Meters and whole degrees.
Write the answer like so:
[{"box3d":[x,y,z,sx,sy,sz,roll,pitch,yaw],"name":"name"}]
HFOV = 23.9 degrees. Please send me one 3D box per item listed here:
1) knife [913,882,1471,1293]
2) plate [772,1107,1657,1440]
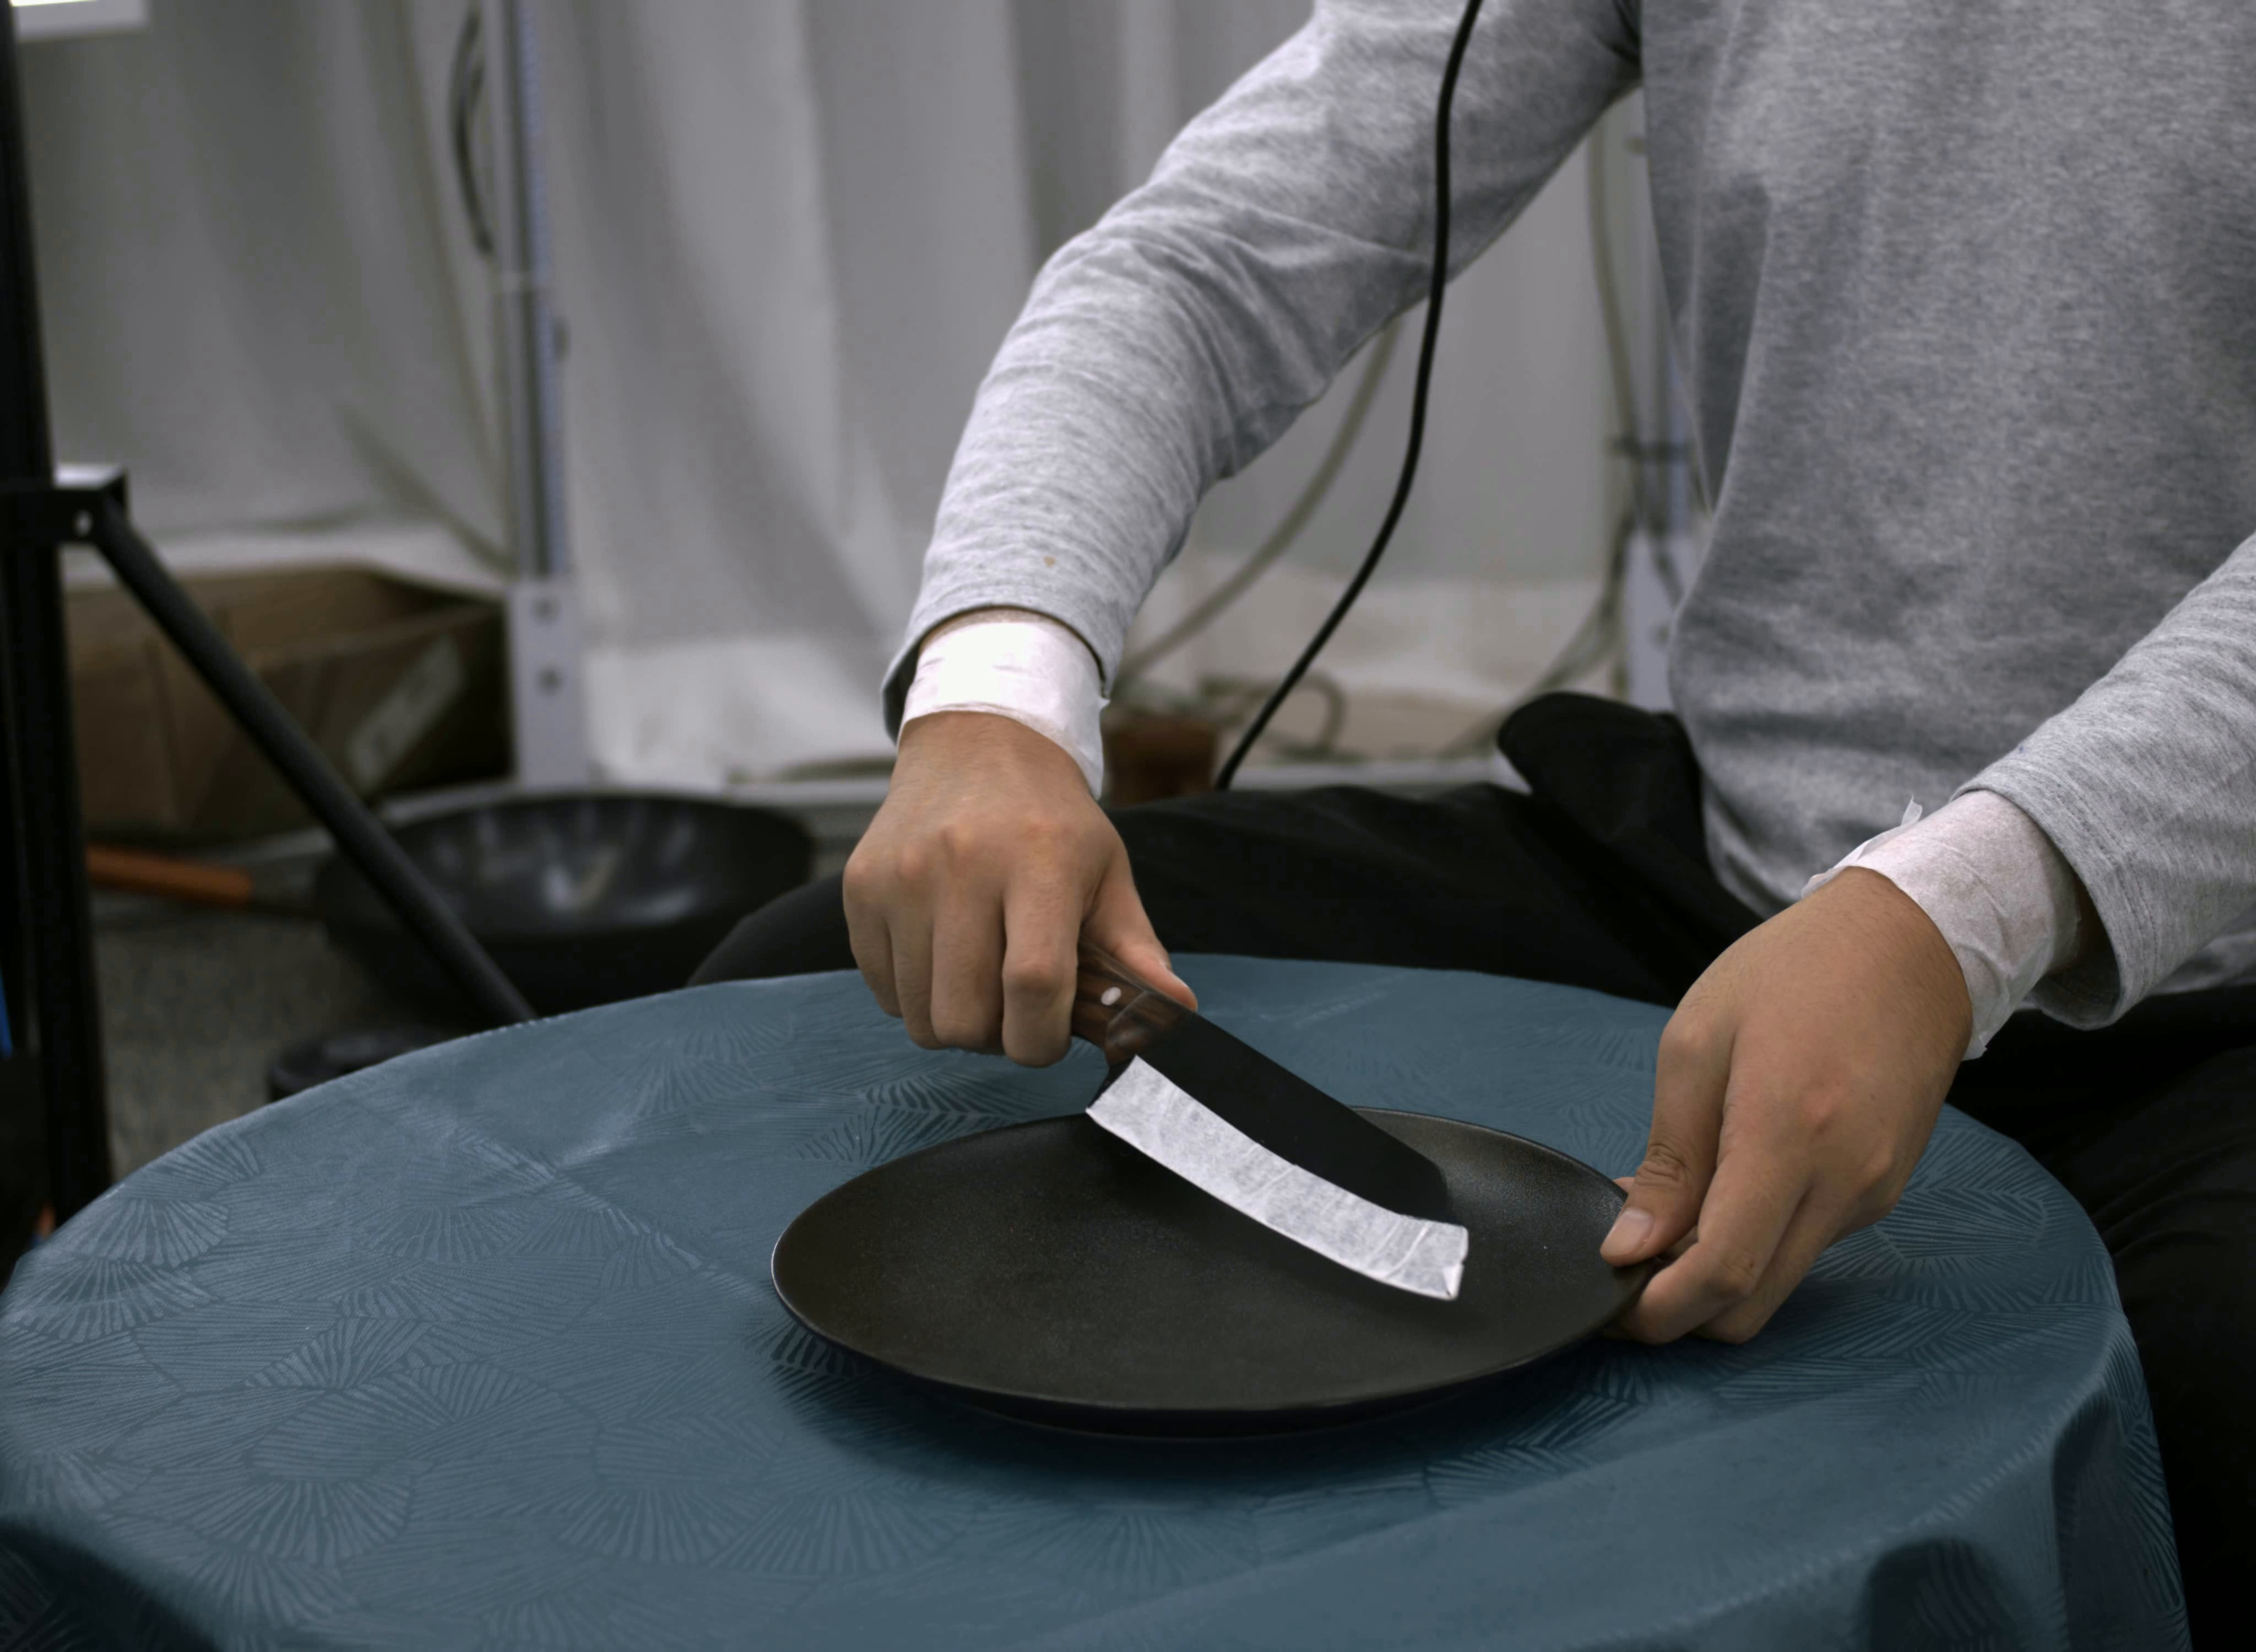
[{"box3d":[0.015,0.073,1.535,0.050,0.019,0.296,-46,36,-8],"name":"knife"},{"box3d":[0.024,0.125,1.457,0.243,0.023,0.245,-3,16,-1],"name":"plate"}]
